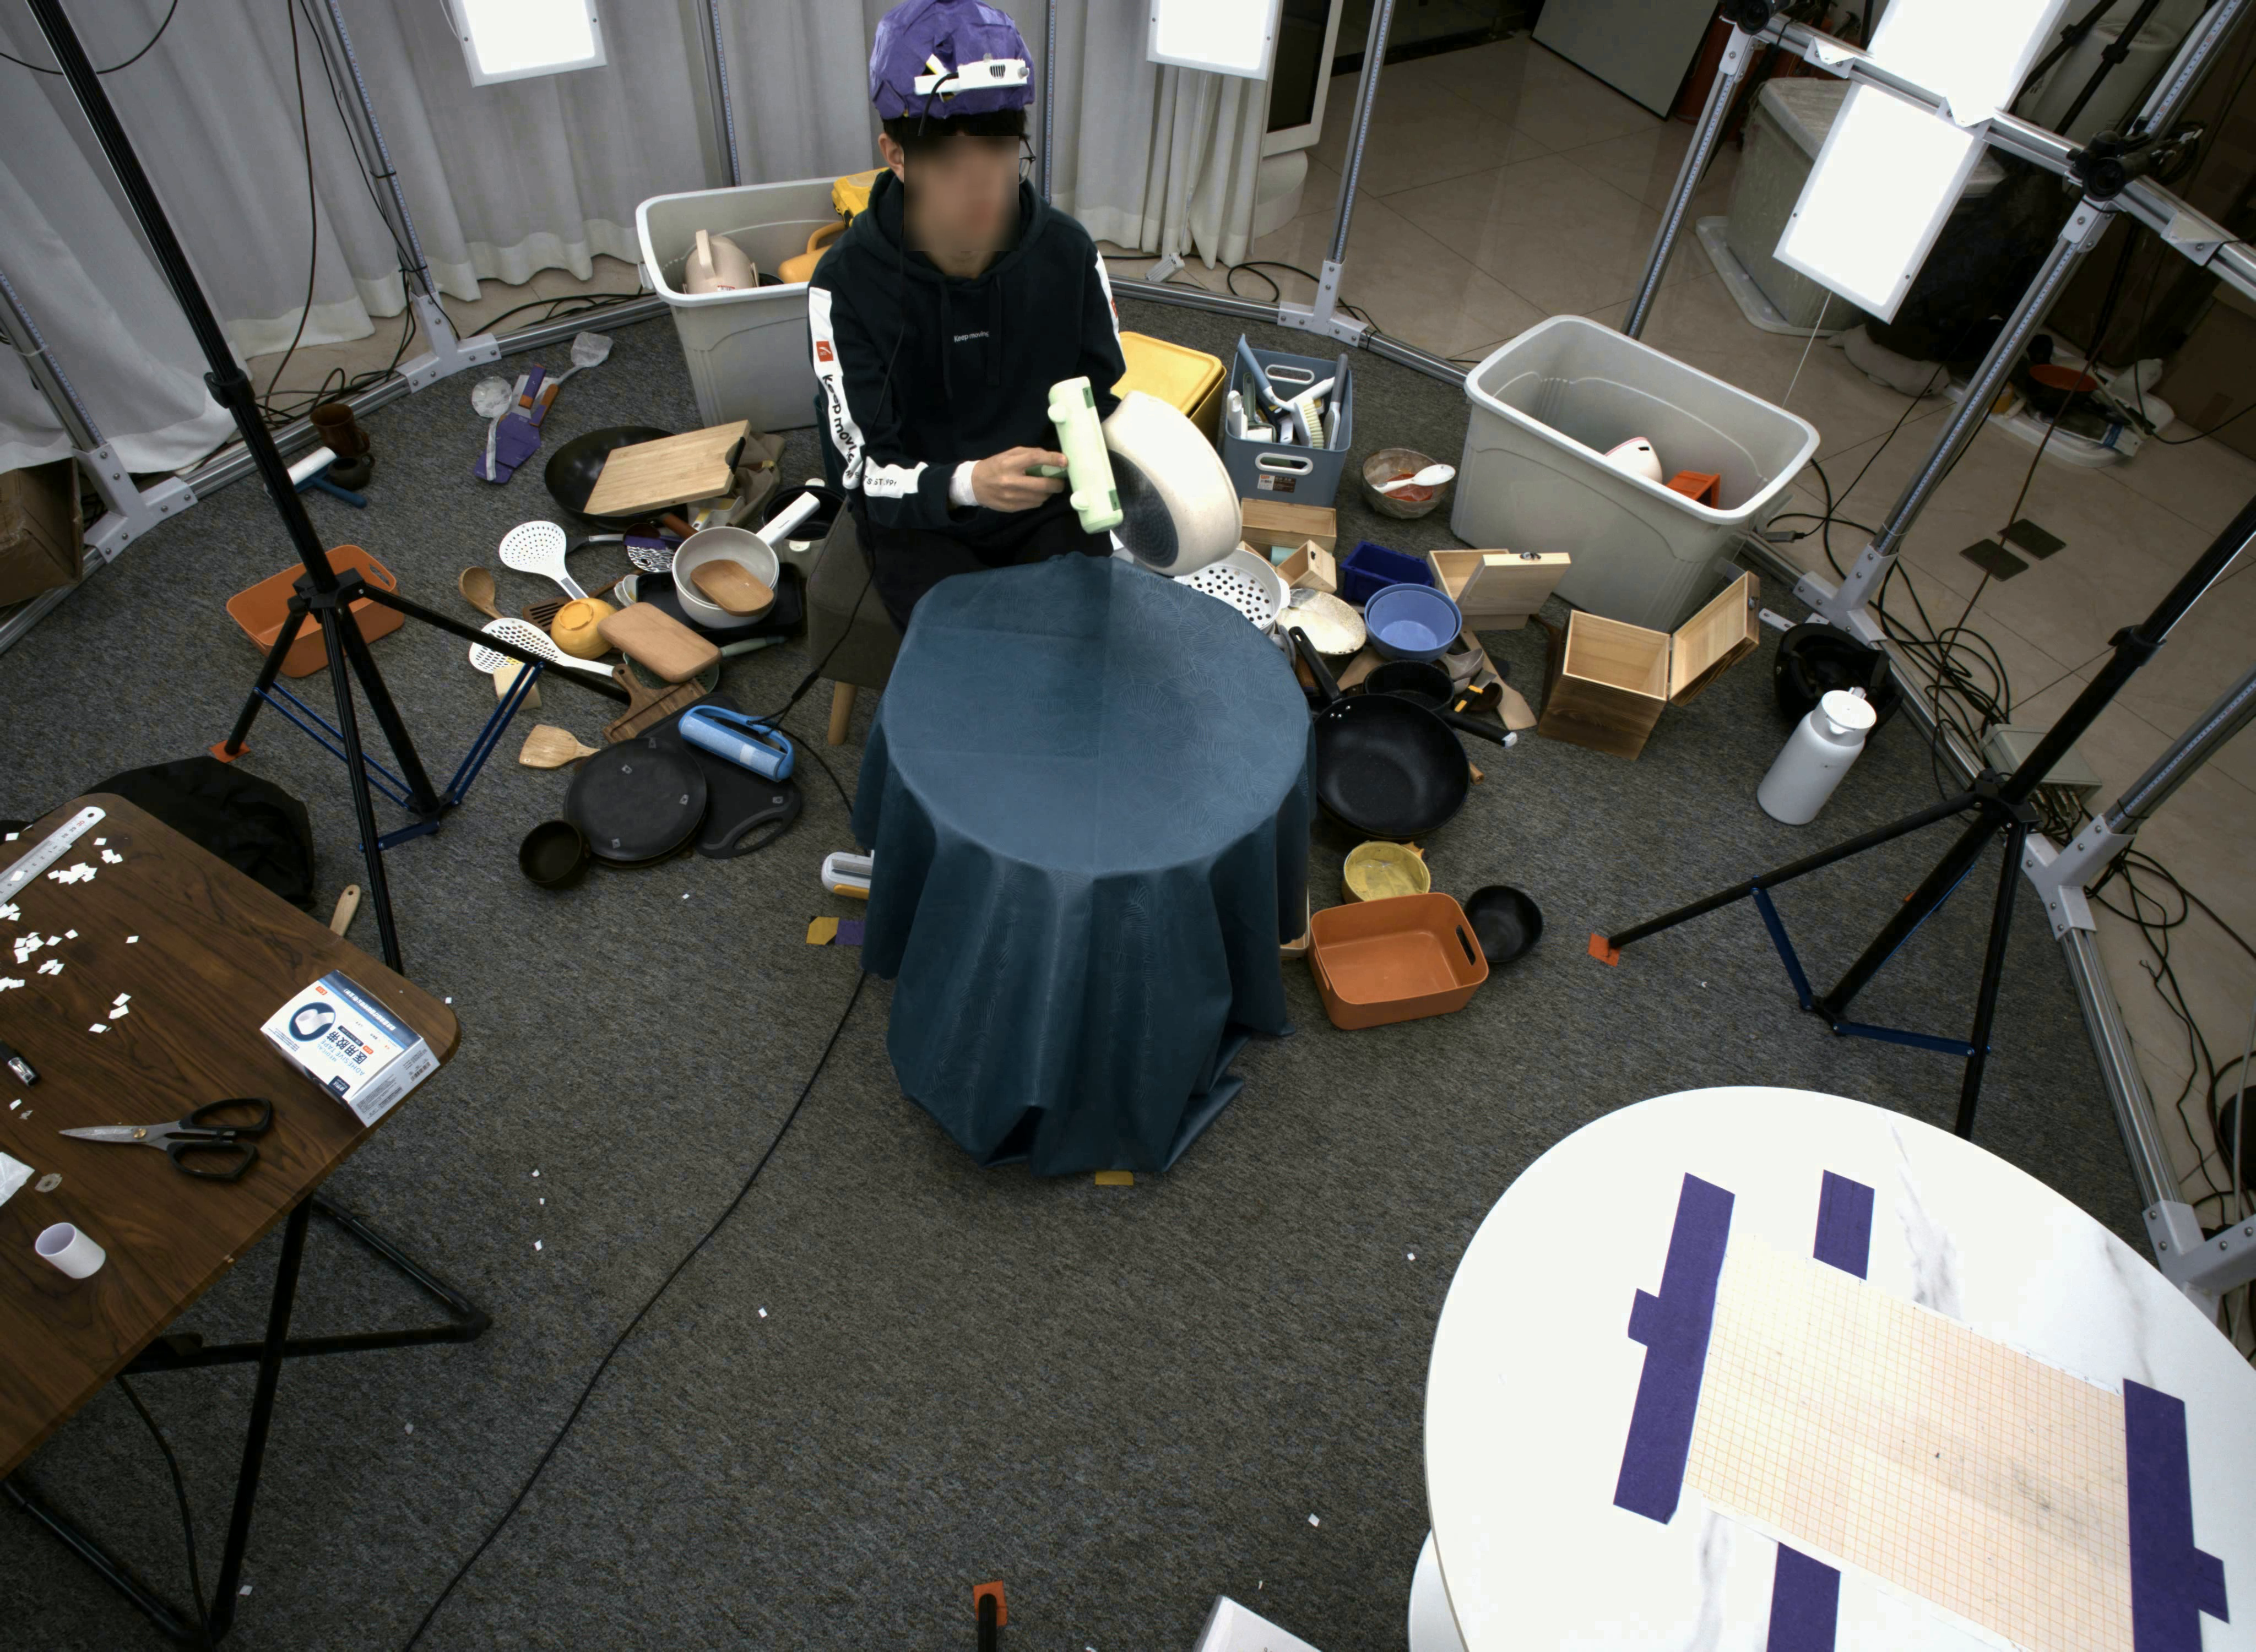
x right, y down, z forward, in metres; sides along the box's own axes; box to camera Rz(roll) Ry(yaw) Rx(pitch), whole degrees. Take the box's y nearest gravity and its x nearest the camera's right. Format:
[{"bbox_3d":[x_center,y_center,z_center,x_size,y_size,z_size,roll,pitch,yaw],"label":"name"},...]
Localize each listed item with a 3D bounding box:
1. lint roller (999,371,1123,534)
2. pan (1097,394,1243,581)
[{"bbox_3d":[-0.108,-0.470,1.697,0.183,0.198,0.082,-13,3,27],"label":"lint roller"},{"bbox_3d":[0.001,-0.459,1.823,0.102,0.259,0.438,-40,23,-16],"label":"pan"}]
